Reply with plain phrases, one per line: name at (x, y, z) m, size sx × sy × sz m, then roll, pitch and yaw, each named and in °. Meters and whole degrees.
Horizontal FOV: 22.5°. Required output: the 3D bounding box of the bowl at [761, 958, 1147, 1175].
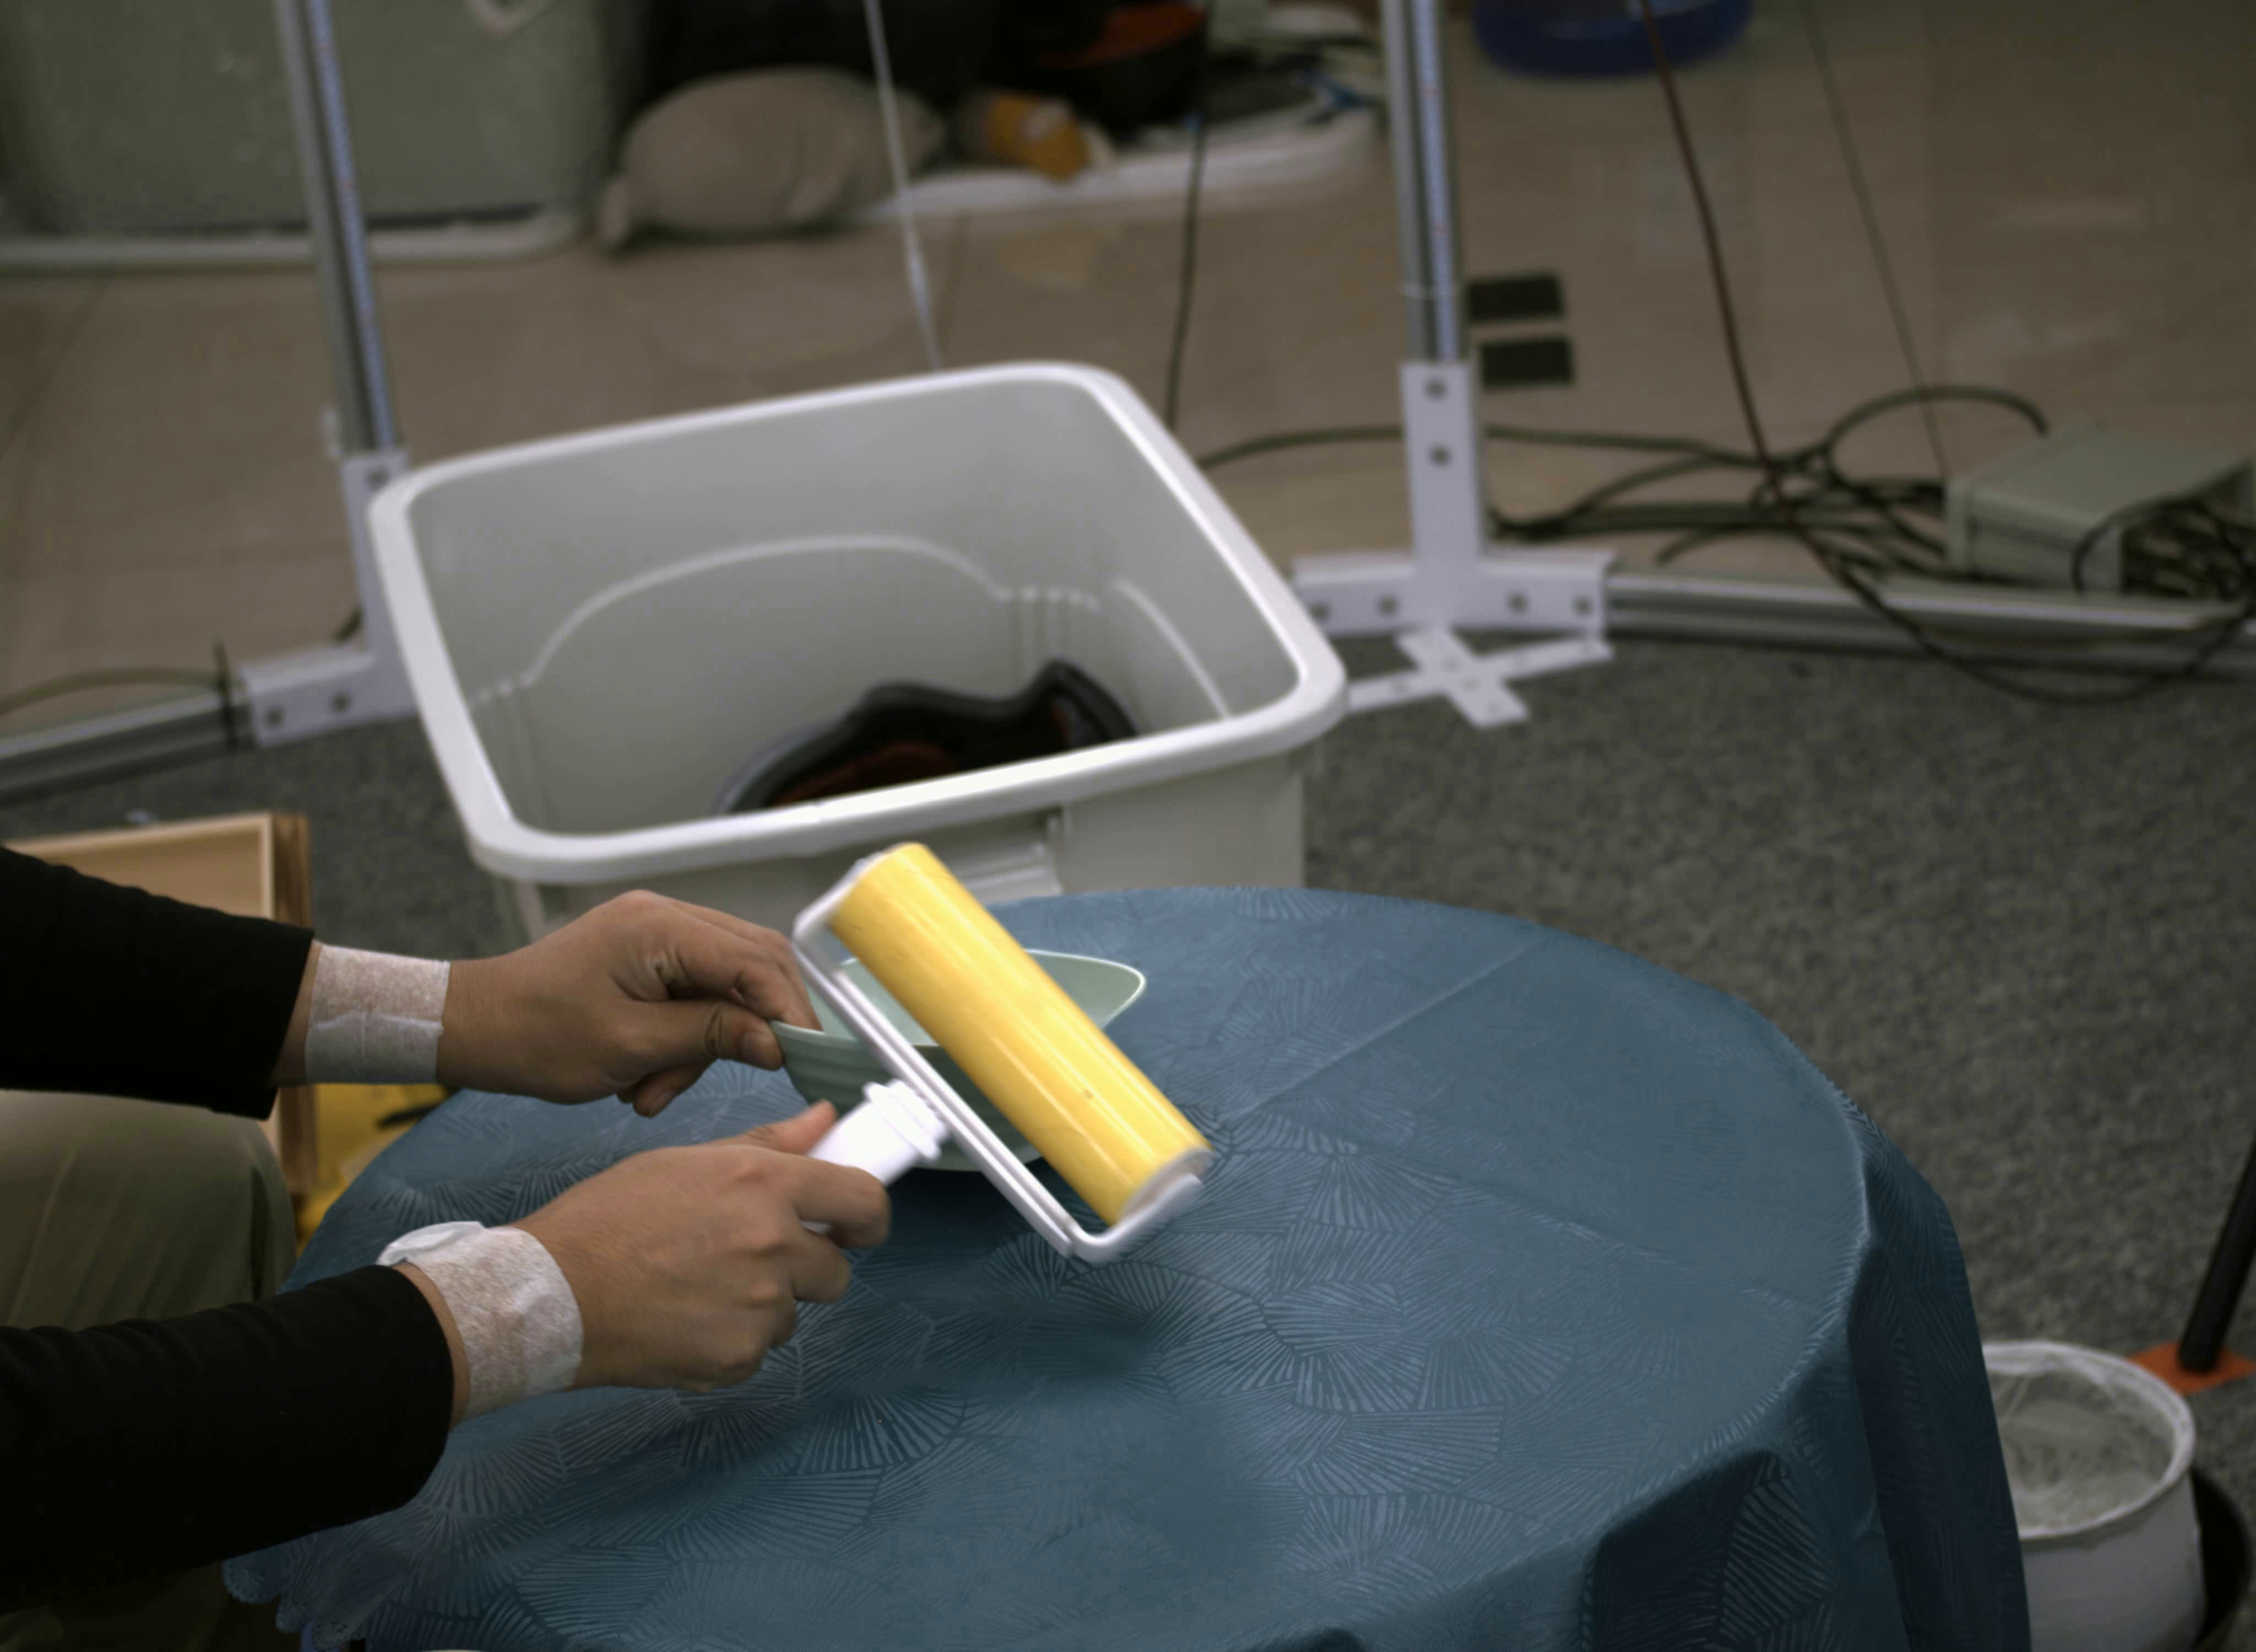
bowl at (-0.066, 0.094, 2.176) m, size 0.151 × 0.059 × 0.150 m, roll -1°, pitch 13°, yaw 0°

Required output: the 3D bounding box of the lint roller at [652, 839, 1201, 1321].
lint roller at (-0.095, 0.110, 2.029) m, size 0.173 × 0.052 × 0.190 m, roll 43°, pitch 55°, yaw 16°
